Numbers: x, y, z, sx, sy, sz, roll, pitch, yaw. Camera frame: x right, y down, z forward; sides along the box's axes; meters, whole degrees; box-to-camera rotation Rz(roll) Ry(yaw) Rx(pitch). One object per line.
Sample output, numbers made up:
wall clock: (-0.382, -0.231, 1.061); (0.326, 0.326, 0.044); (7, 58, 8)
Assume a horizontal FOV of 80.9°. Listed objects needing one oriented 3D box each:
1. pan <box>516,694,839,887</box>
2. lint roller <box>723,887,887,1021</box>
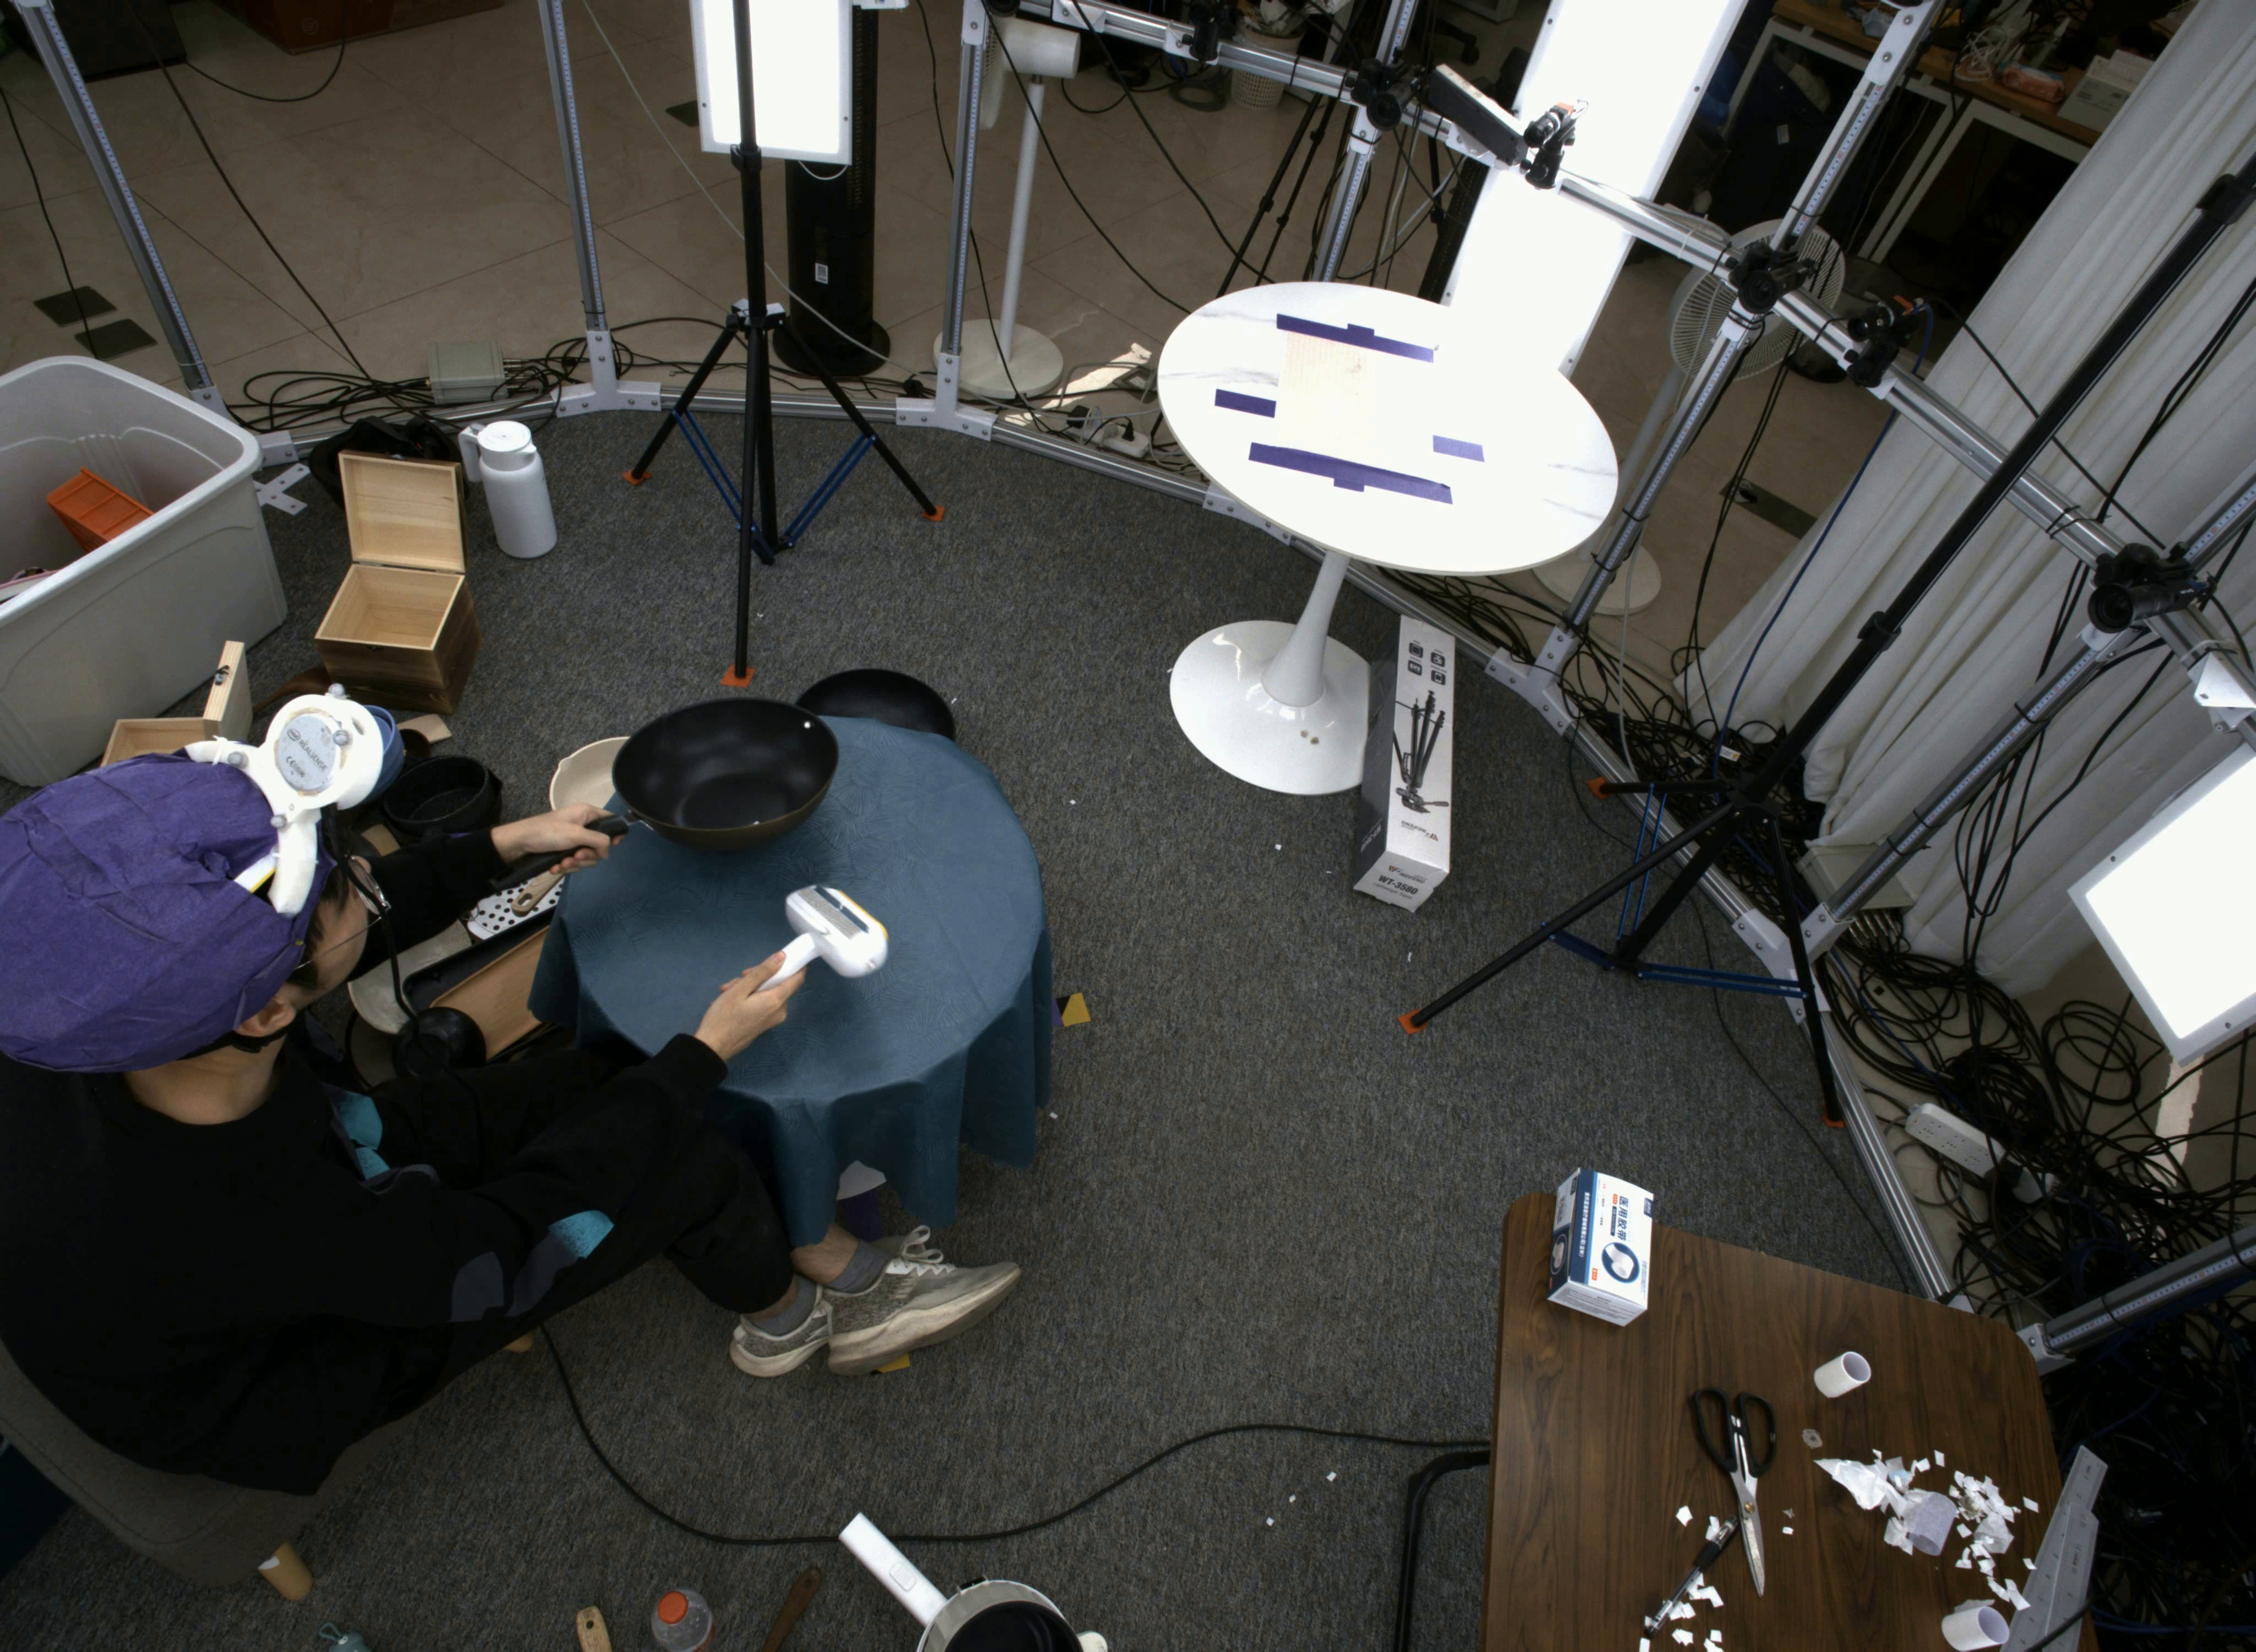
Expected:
pan: (-0.565, -0.015, 1.587); (0.278, 0.089, 0.465); (31, 47, 28)
lint roller: (-0.387, 0.152, 1.501); (0.192, 0.077, 0.186); (-28, 32, -20)
